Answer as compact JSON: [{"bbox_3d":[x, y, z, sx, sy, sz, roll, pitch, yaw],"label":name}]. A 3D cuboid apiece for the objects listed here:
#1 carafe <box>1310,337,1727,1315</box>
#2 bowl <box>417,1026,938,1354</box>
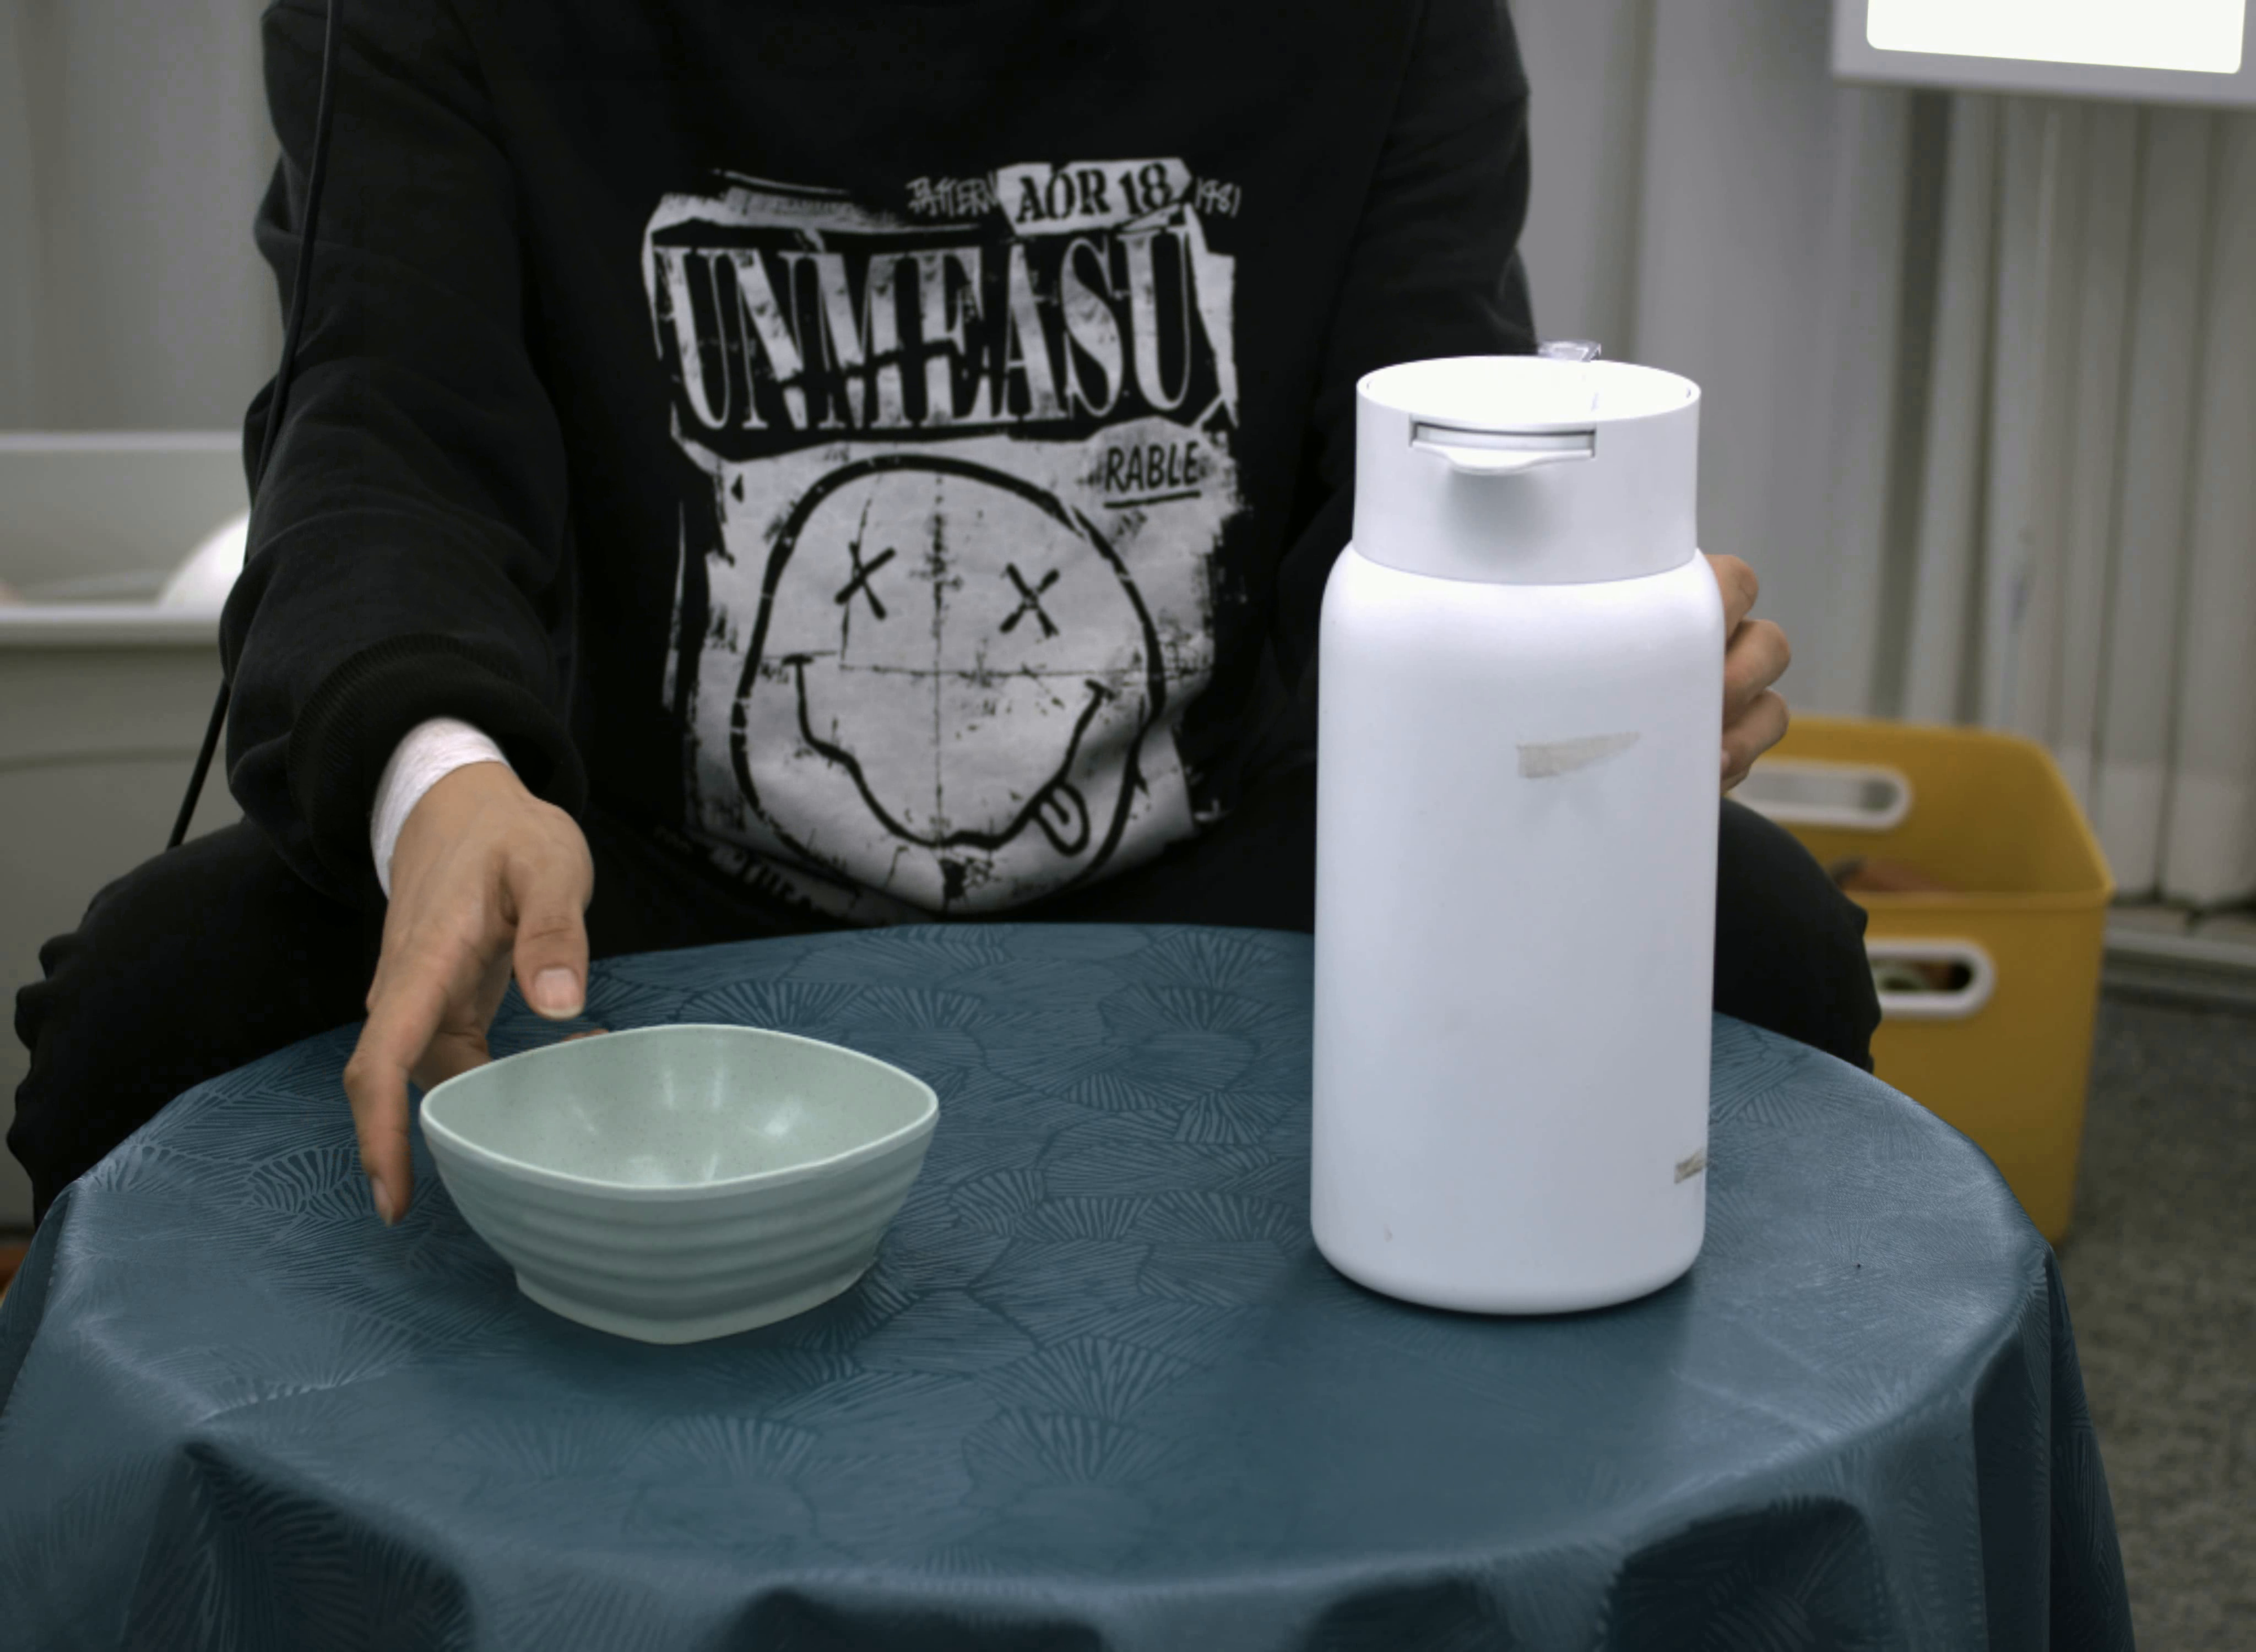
[{"bbox_3d":[0.116,-0.005,1.547,0.123,0.271,0.172,2,16,12],"label":"carafe"},{"bbox_3d":[-0.130,0.109,1.532,0.151,0.059,0.150,1,16,0],"label":"bowl"}]
